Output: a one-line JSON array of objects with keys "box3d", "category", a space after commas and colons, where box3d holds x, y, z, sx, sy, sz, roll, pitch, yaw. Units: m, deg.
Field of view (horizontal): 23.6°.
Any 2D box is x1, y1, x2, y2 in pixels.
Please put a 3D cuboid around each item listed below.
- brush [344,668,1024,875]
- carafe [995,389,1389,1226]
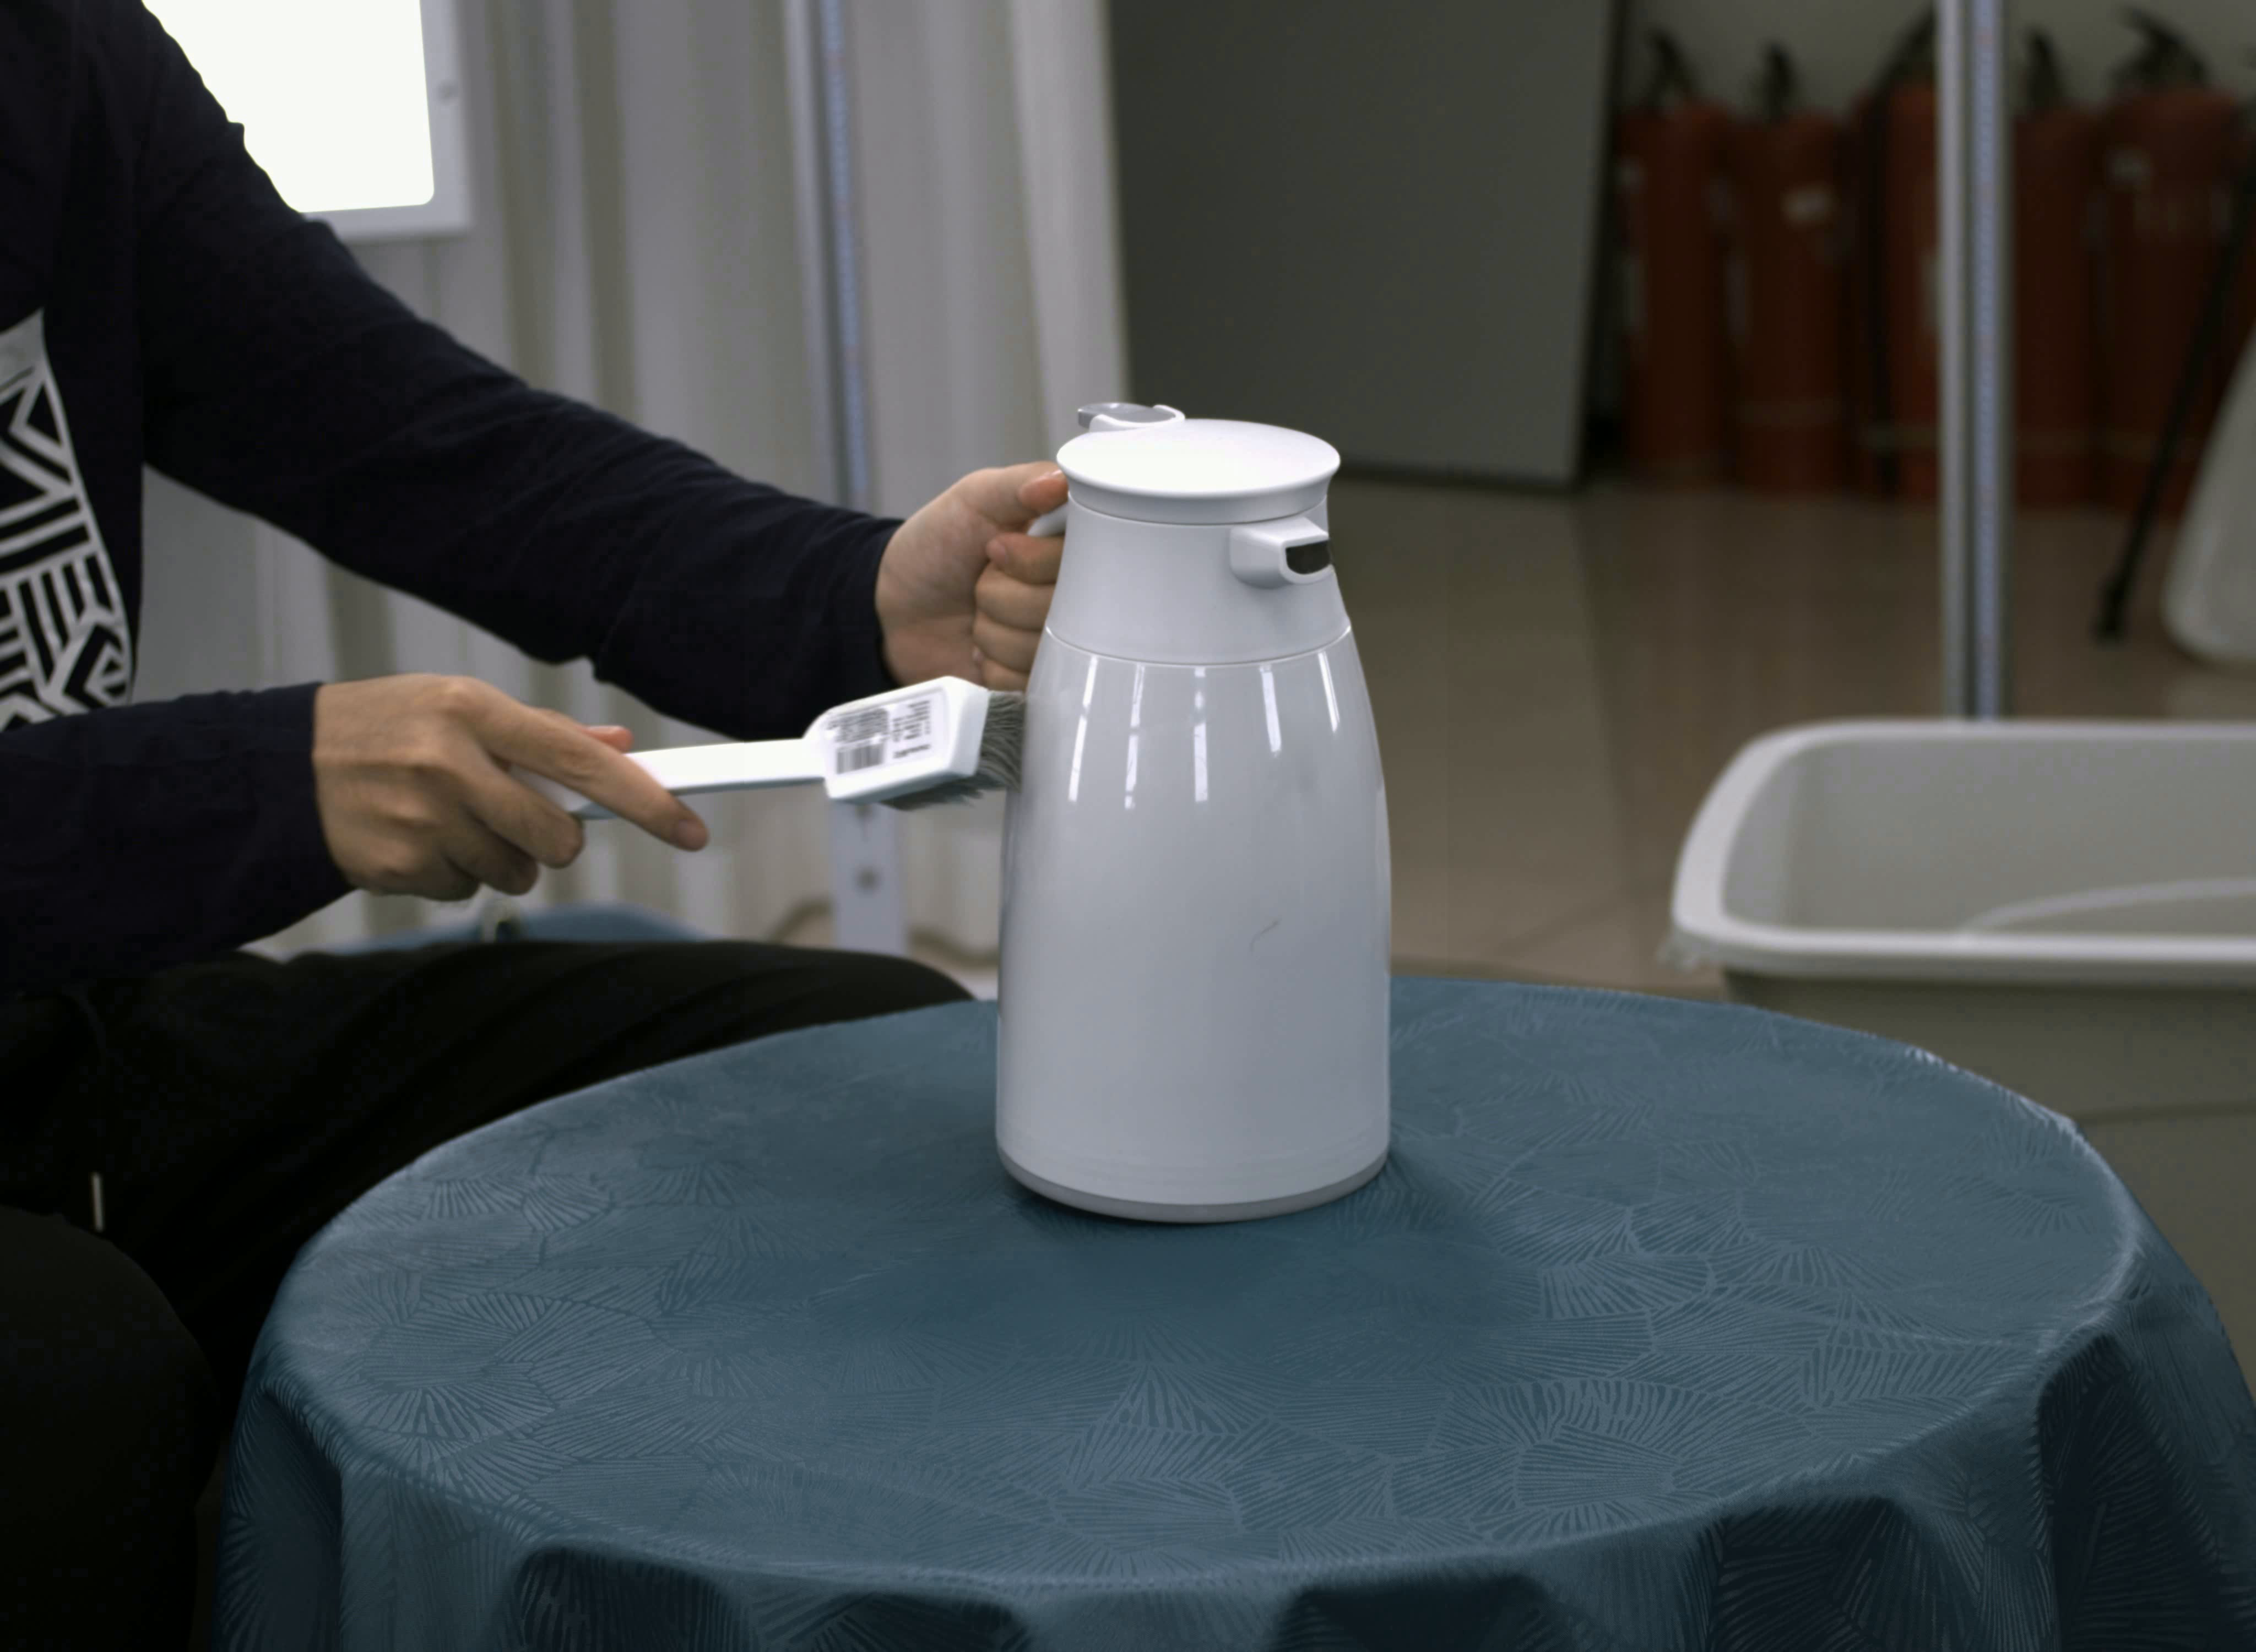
[{"box3d": [-0.145, -0.012, 1.782, 0.244, 0.035, 0.049, -12, -15, 24], "category": "brush"}, {"box3d": [0.010, -0.015, 1.772, 0.129, 0.251, 0.169, -12, 21, -33], "category": "carafe"}]
